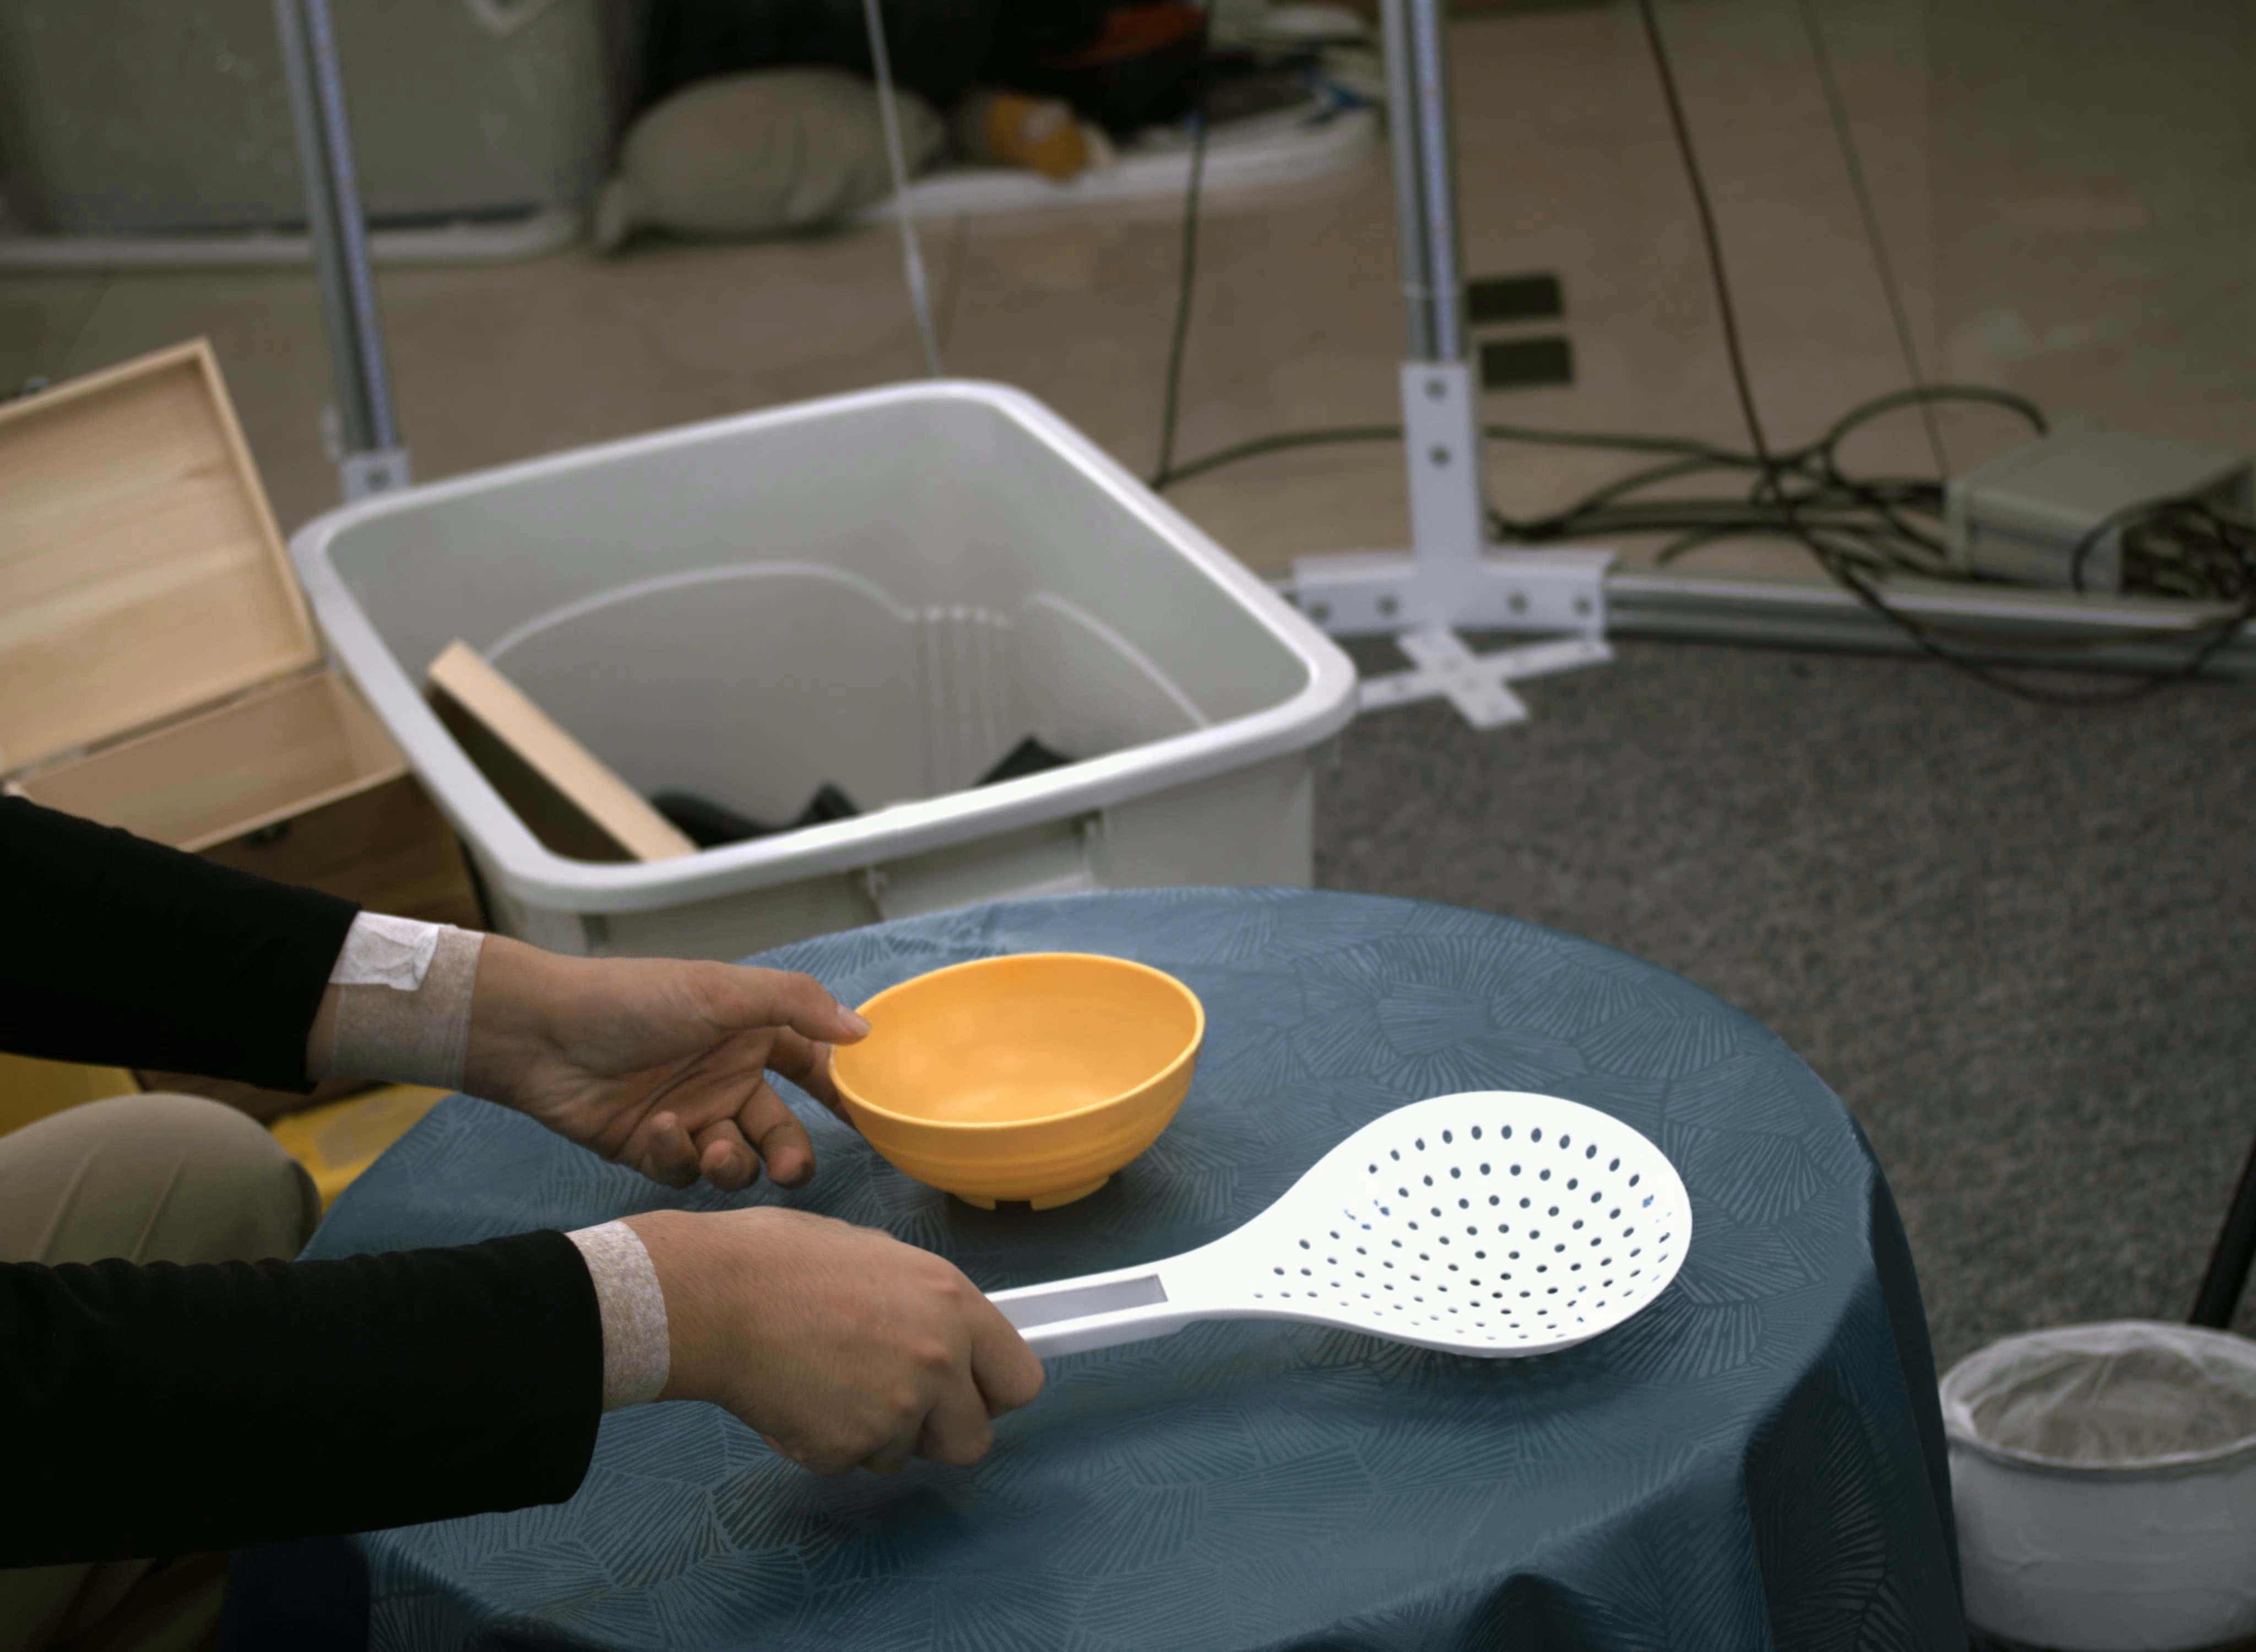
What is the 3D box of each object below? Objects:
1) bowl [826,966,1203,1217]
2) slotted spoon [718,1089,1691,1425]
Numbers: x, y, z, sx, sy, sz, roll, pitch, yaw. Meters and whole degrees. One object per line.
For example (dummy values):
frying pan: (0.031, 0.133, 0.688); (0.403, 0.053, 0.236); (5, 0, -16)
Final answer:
bowl: (-0.040, 0.108, 2.157); (0.145, 0.061, 0.143); (-5, 23, 2)
slotted spoon: (0.028, 0.165, 2.002); (0.349, 0.046, 0.133); (-7, 39, -13)
